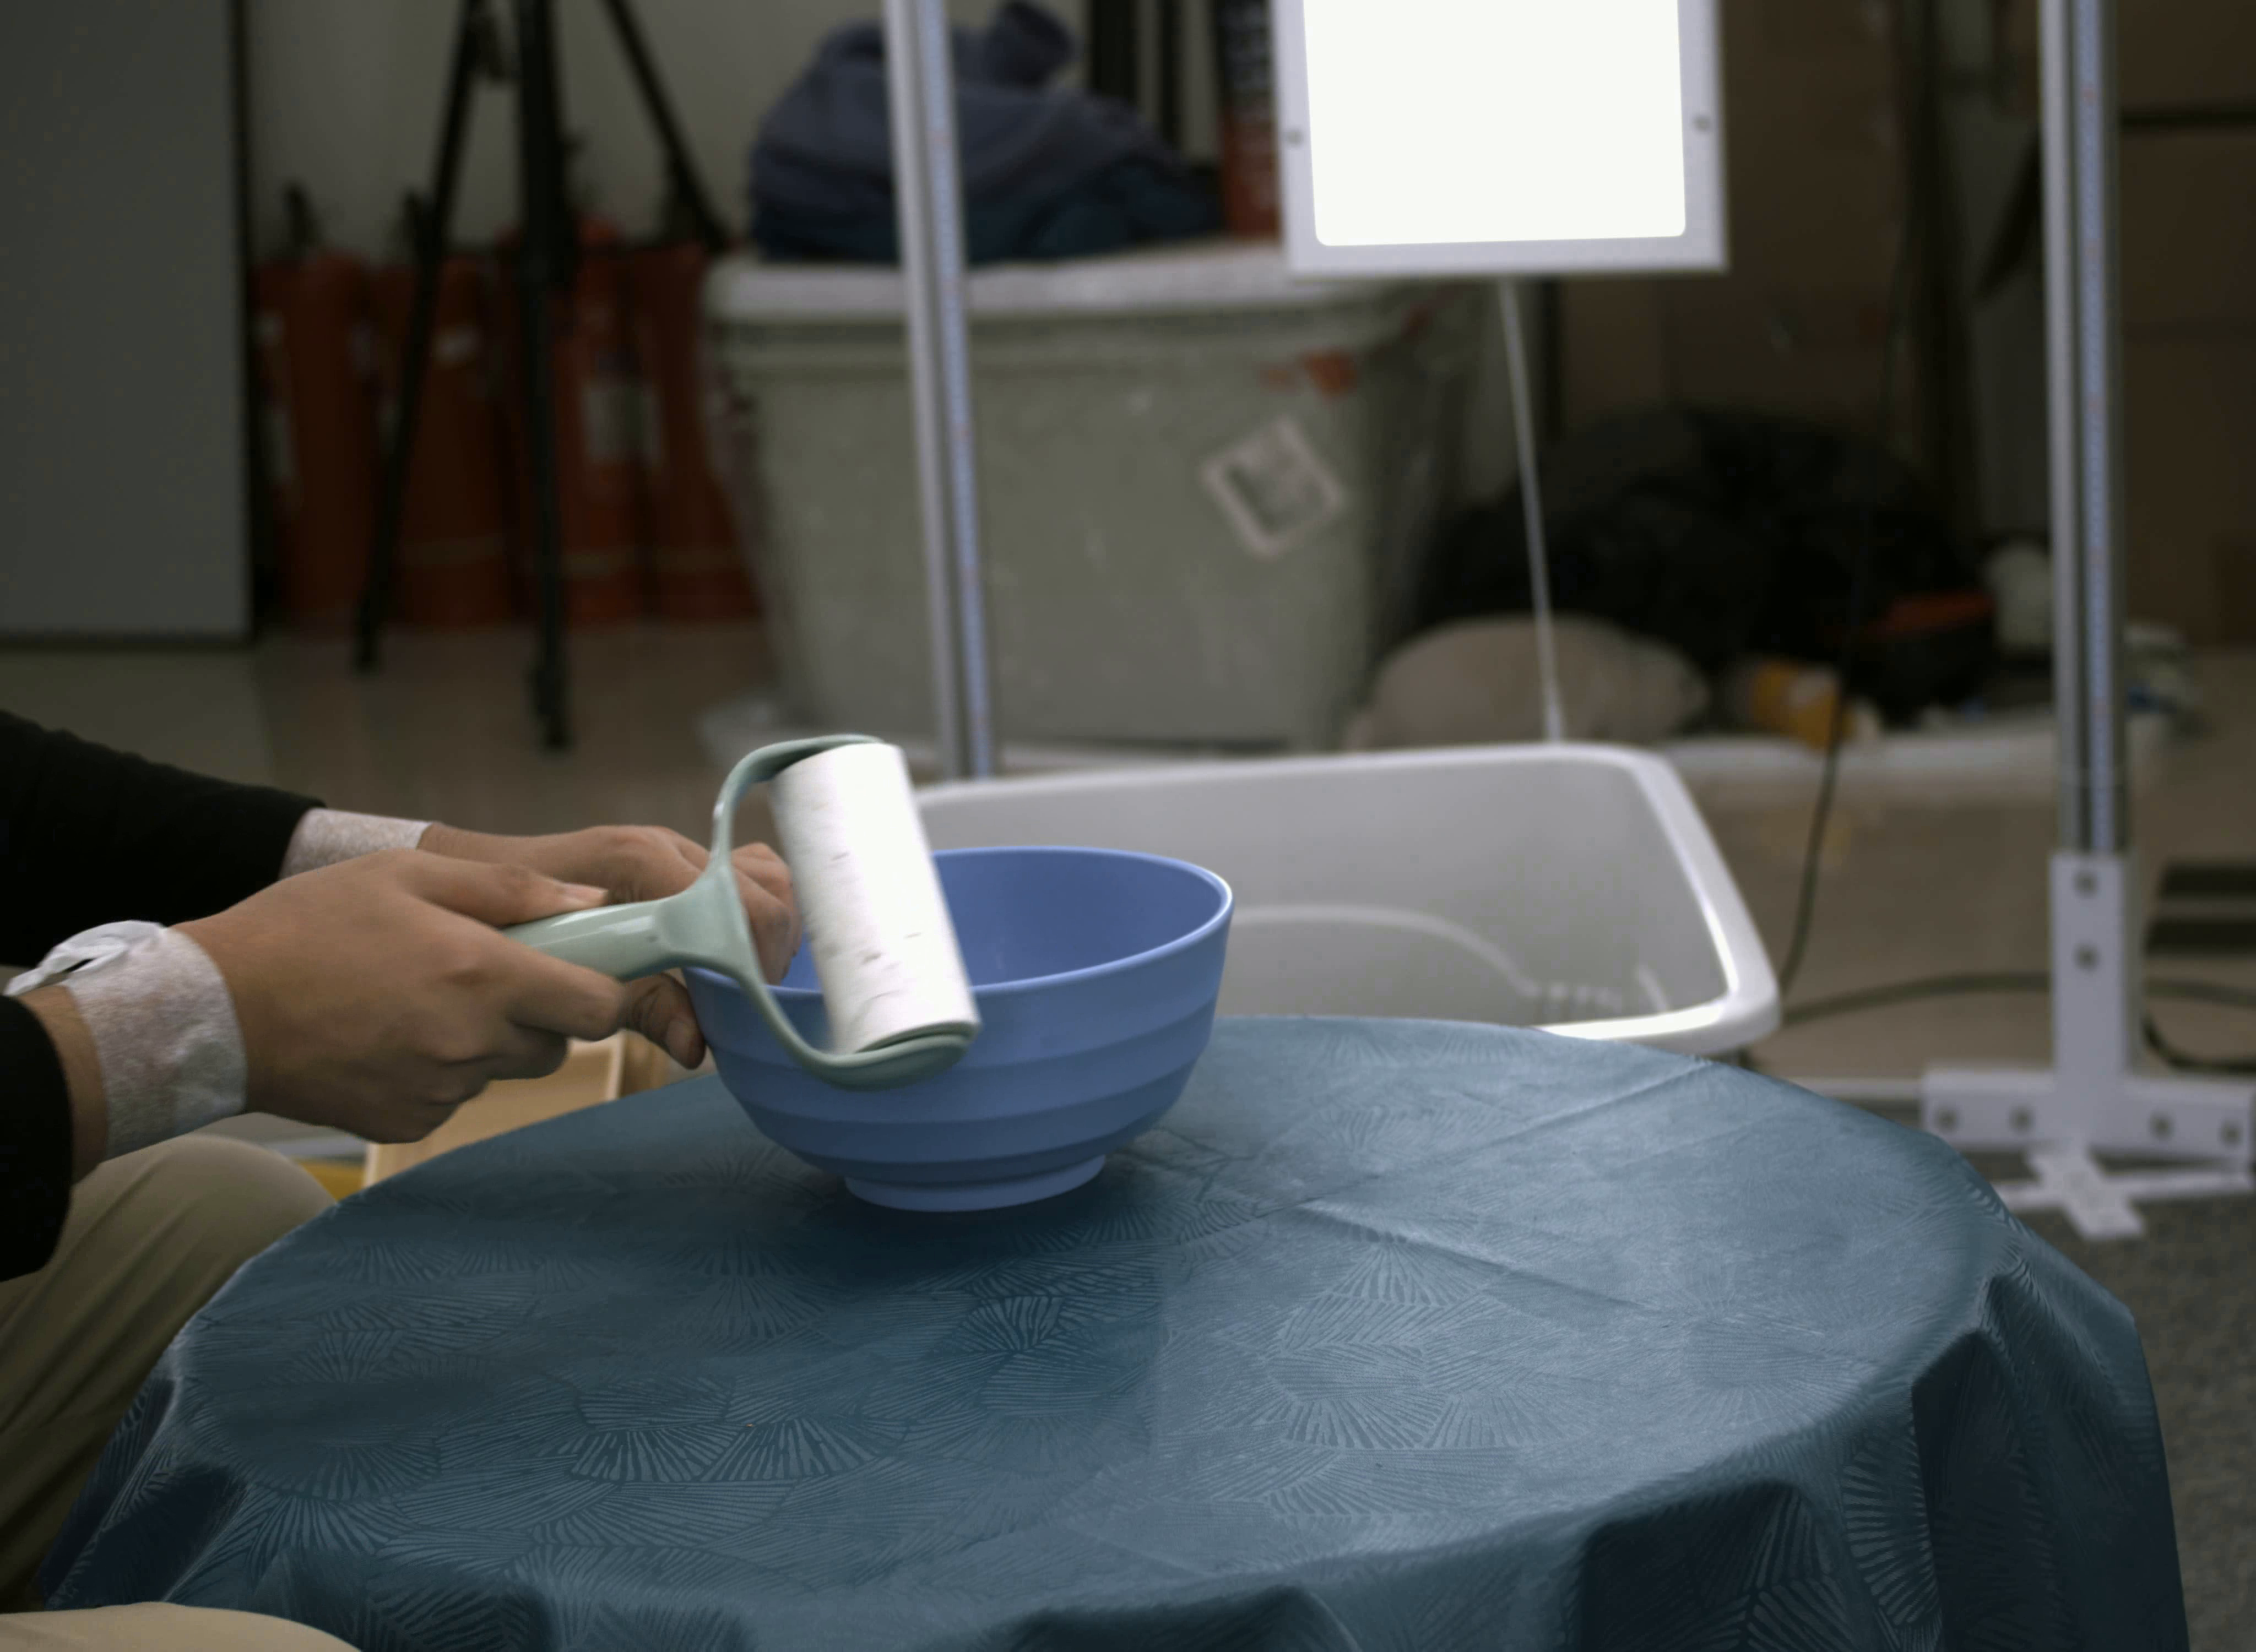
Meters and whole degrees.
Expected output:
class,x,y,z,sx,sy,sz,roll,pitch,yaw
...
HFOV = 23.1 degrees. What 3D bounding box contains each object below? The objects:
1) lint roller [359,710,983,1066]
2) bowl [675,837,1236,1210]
class,x,y,z,sx,sy,sz,roll,pitch,yaw
lint roller,-0.153,0.033,1.789,0.194,0.117,0.049,-11,-18,-15
bowl,-0.057,0.075,1.925,0.196,0.096,0.196,-4,15,0
